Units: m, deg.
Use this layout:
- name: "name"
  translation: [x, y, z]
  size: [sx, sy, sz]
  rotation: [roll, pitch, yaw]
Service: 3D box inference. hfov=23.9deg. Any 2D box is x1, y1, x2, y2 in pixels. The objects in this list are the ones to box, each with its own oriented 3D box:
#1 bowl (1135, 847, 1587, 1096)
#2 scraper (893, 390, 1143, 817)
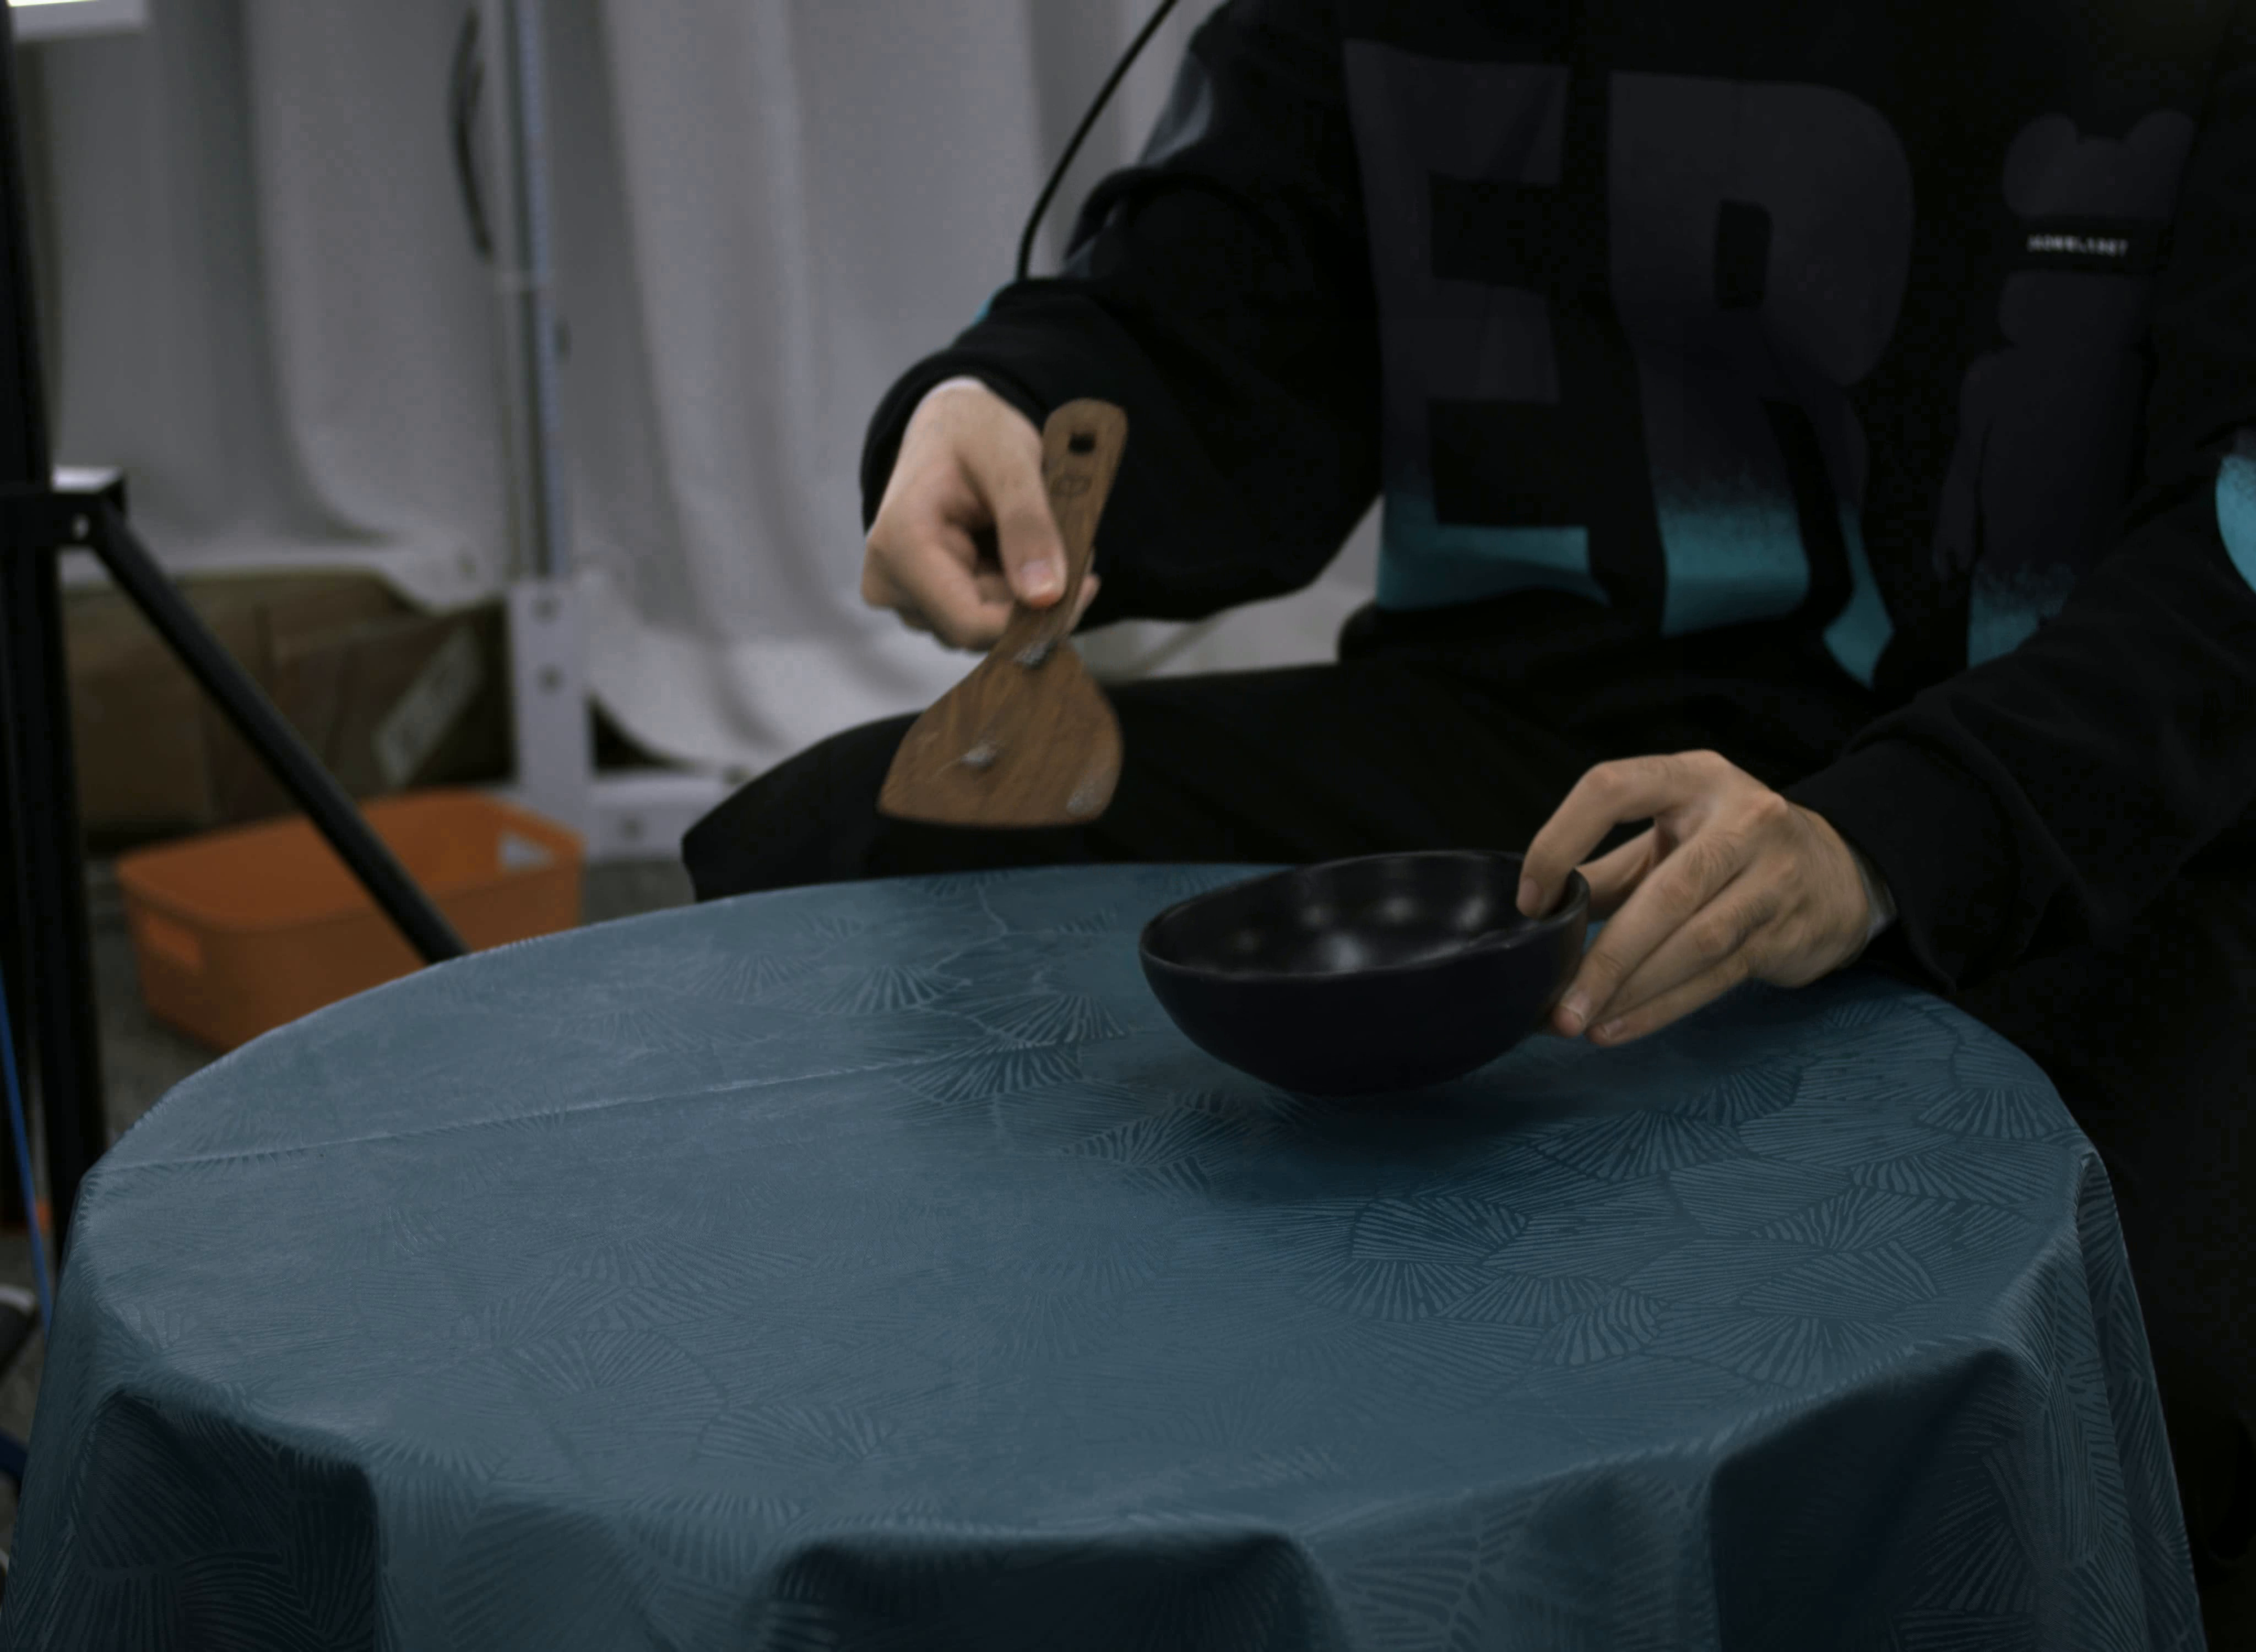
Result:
- name: "bowl"
  translation: [0.074, 0.048, 1.612]
  size: [0.139, 0.050, 0.140]
  rotation: [-10, 12, 1]
- name: "scraper"
  translation: [-0.024, -0.073, 1.709]
  size: [0.076, 0.011, 0.212]
  rotation: [1, 43, 9]
